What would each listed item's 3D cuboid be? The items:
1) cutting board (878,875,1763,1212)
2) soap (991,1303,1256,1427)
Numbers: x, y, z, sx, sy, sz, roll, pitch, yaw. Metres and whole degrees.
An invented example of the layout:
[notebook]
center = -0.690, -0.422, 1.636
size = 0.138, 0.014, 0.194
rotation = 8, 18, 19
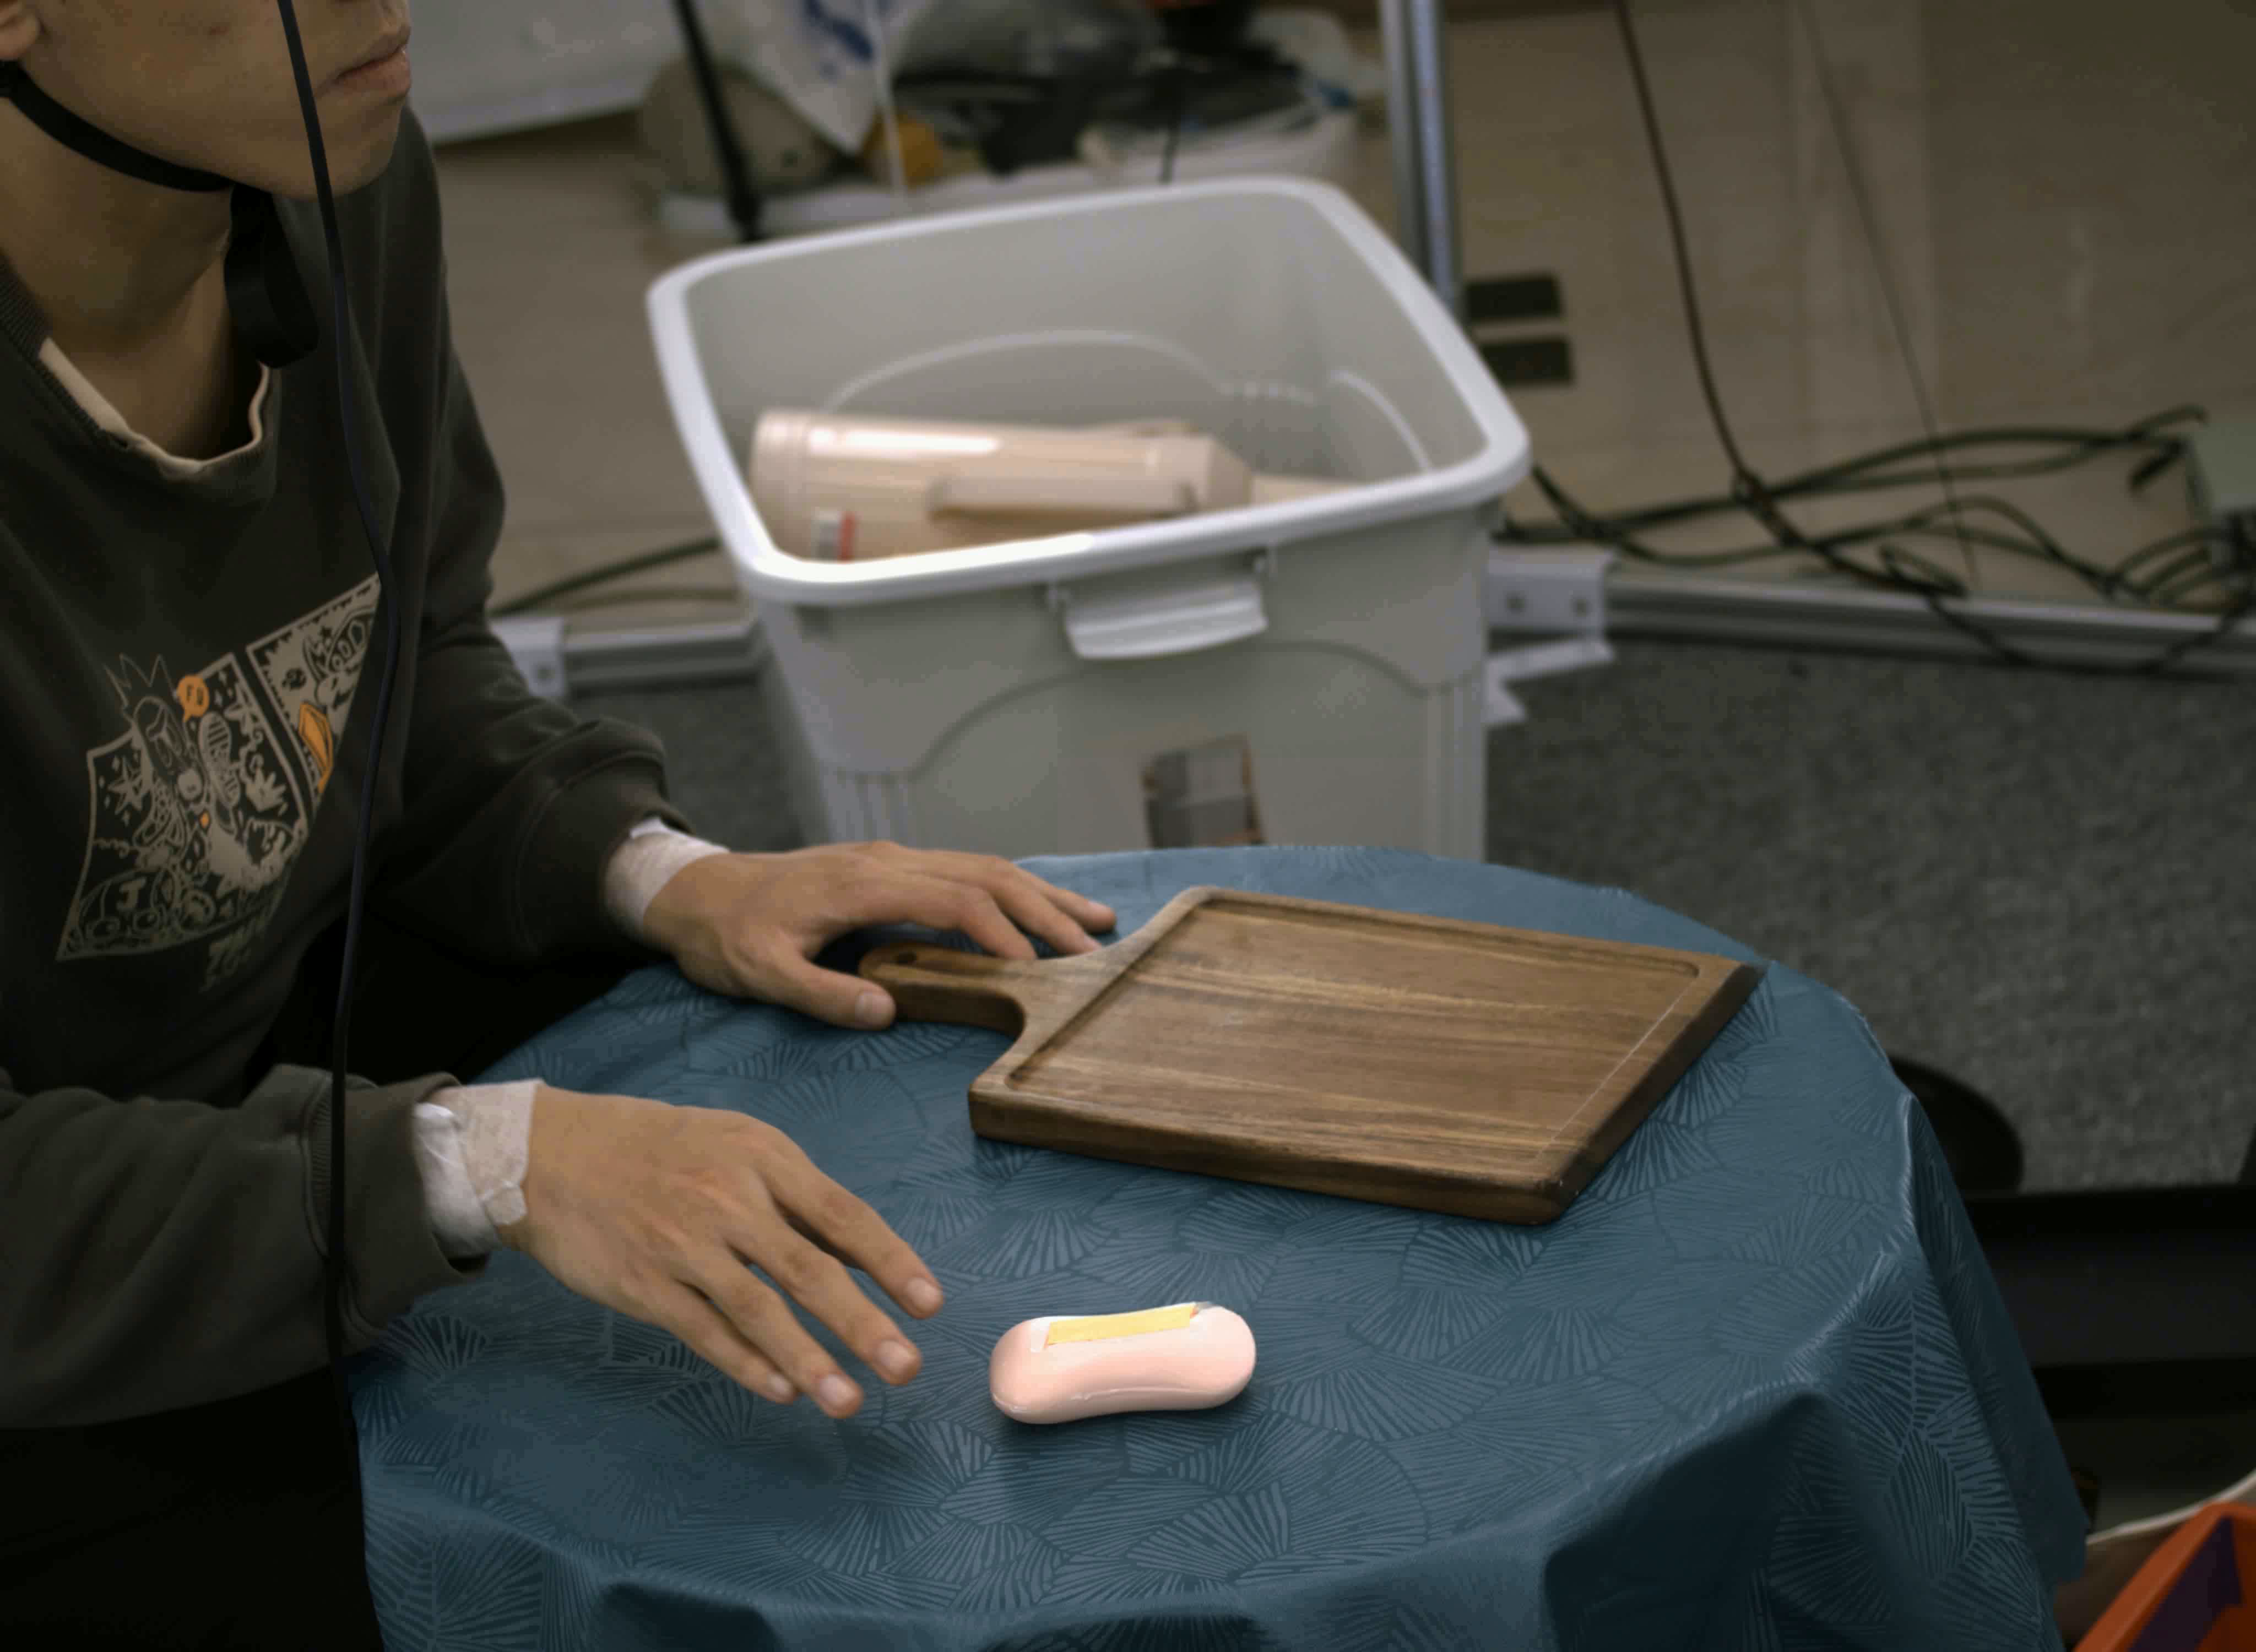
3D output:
[cutting board]
center = 0.055, 0.075, 2.244
size = 0.350, 0.023, 0.198
rotation = 8, 29, 29
[soap]
center = -0.002, 0.190, 2.004
size = 0.094, 0.031, 0.049
rotation = -7, 24, 3
